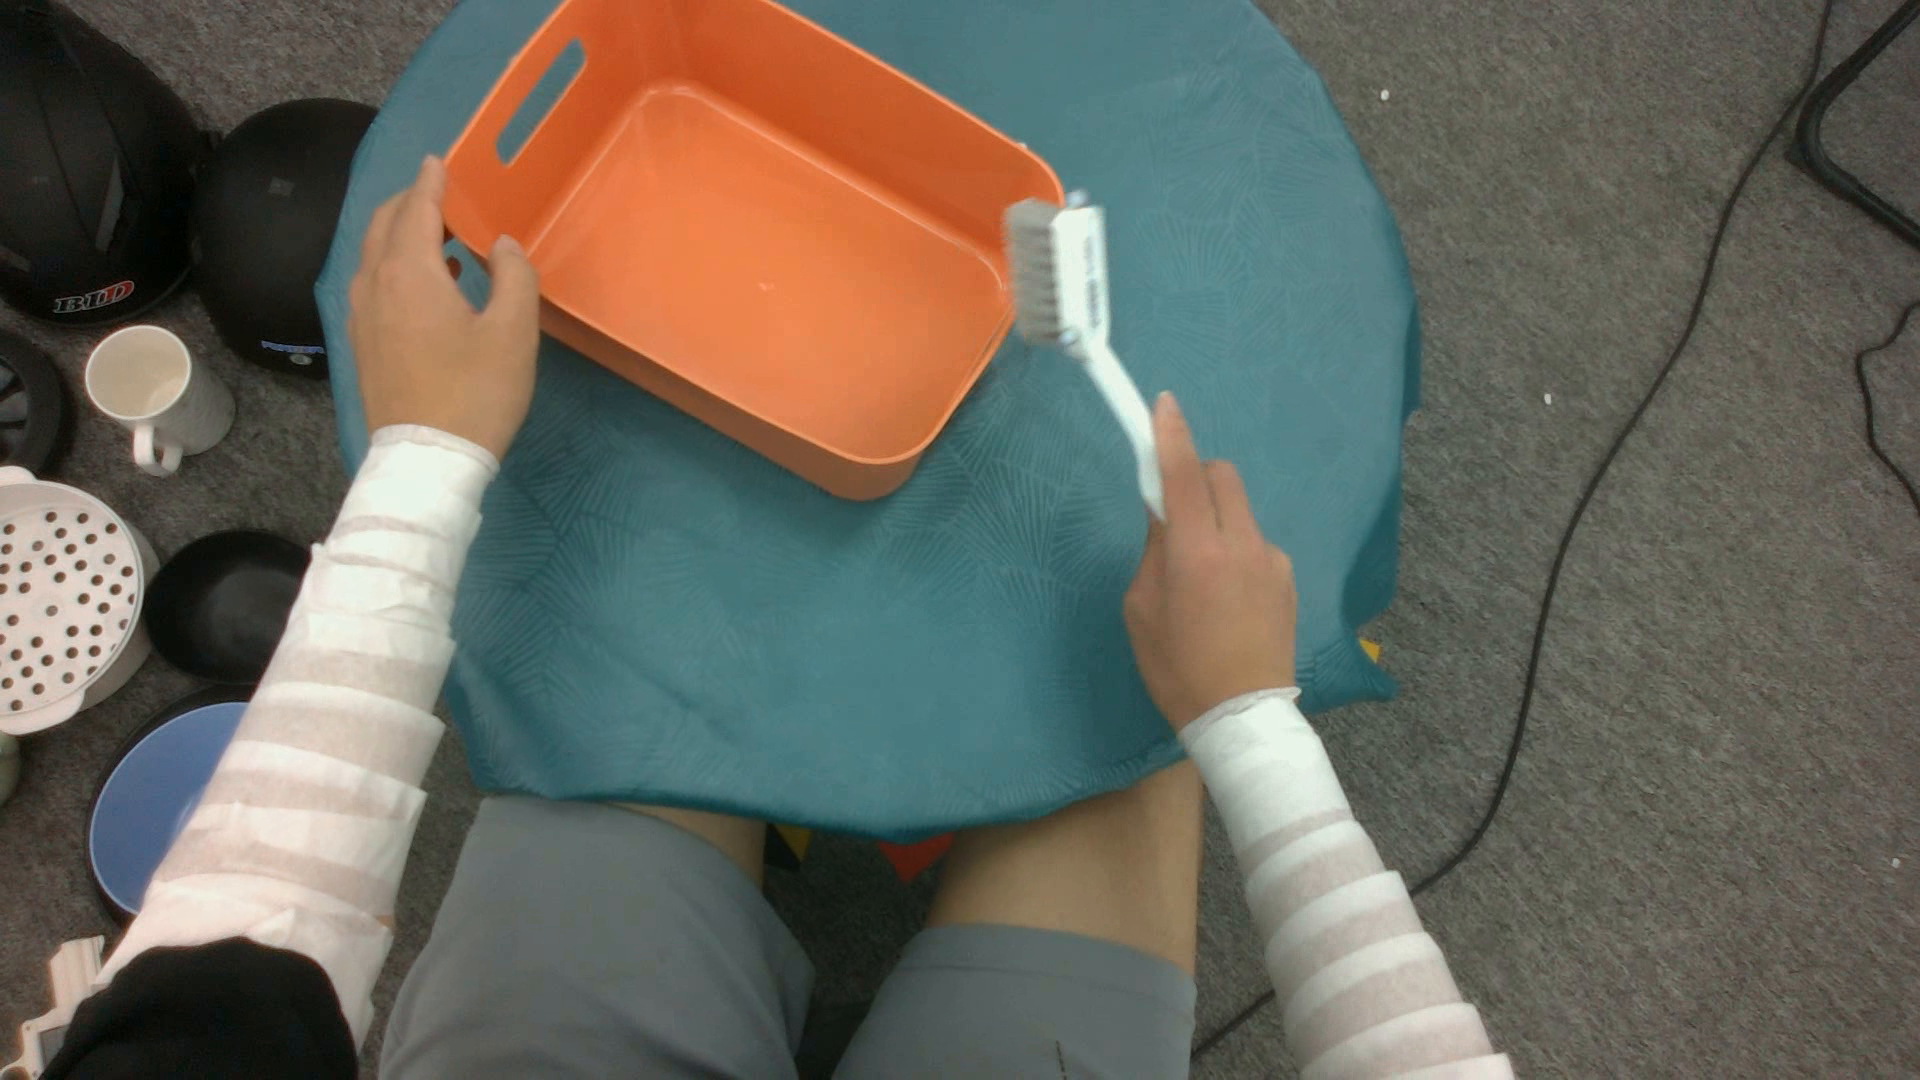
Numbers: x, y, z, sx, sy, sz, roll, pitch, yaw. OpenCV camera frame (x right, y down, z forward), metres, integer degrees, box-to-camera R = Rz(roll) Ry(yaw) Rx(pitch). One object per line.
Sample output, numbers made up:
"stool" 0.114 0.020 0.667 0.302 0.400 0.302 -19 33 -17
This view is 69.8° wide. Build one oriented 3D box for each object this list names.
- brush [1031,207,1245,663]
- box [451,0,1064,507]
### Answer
"brush" 0.085 -0.046 0.675 0.050 0.034 0.243 -12 108 27
"box" -0.102 -0.147 0.726 0.273 0.102 0.200 28 72 3
